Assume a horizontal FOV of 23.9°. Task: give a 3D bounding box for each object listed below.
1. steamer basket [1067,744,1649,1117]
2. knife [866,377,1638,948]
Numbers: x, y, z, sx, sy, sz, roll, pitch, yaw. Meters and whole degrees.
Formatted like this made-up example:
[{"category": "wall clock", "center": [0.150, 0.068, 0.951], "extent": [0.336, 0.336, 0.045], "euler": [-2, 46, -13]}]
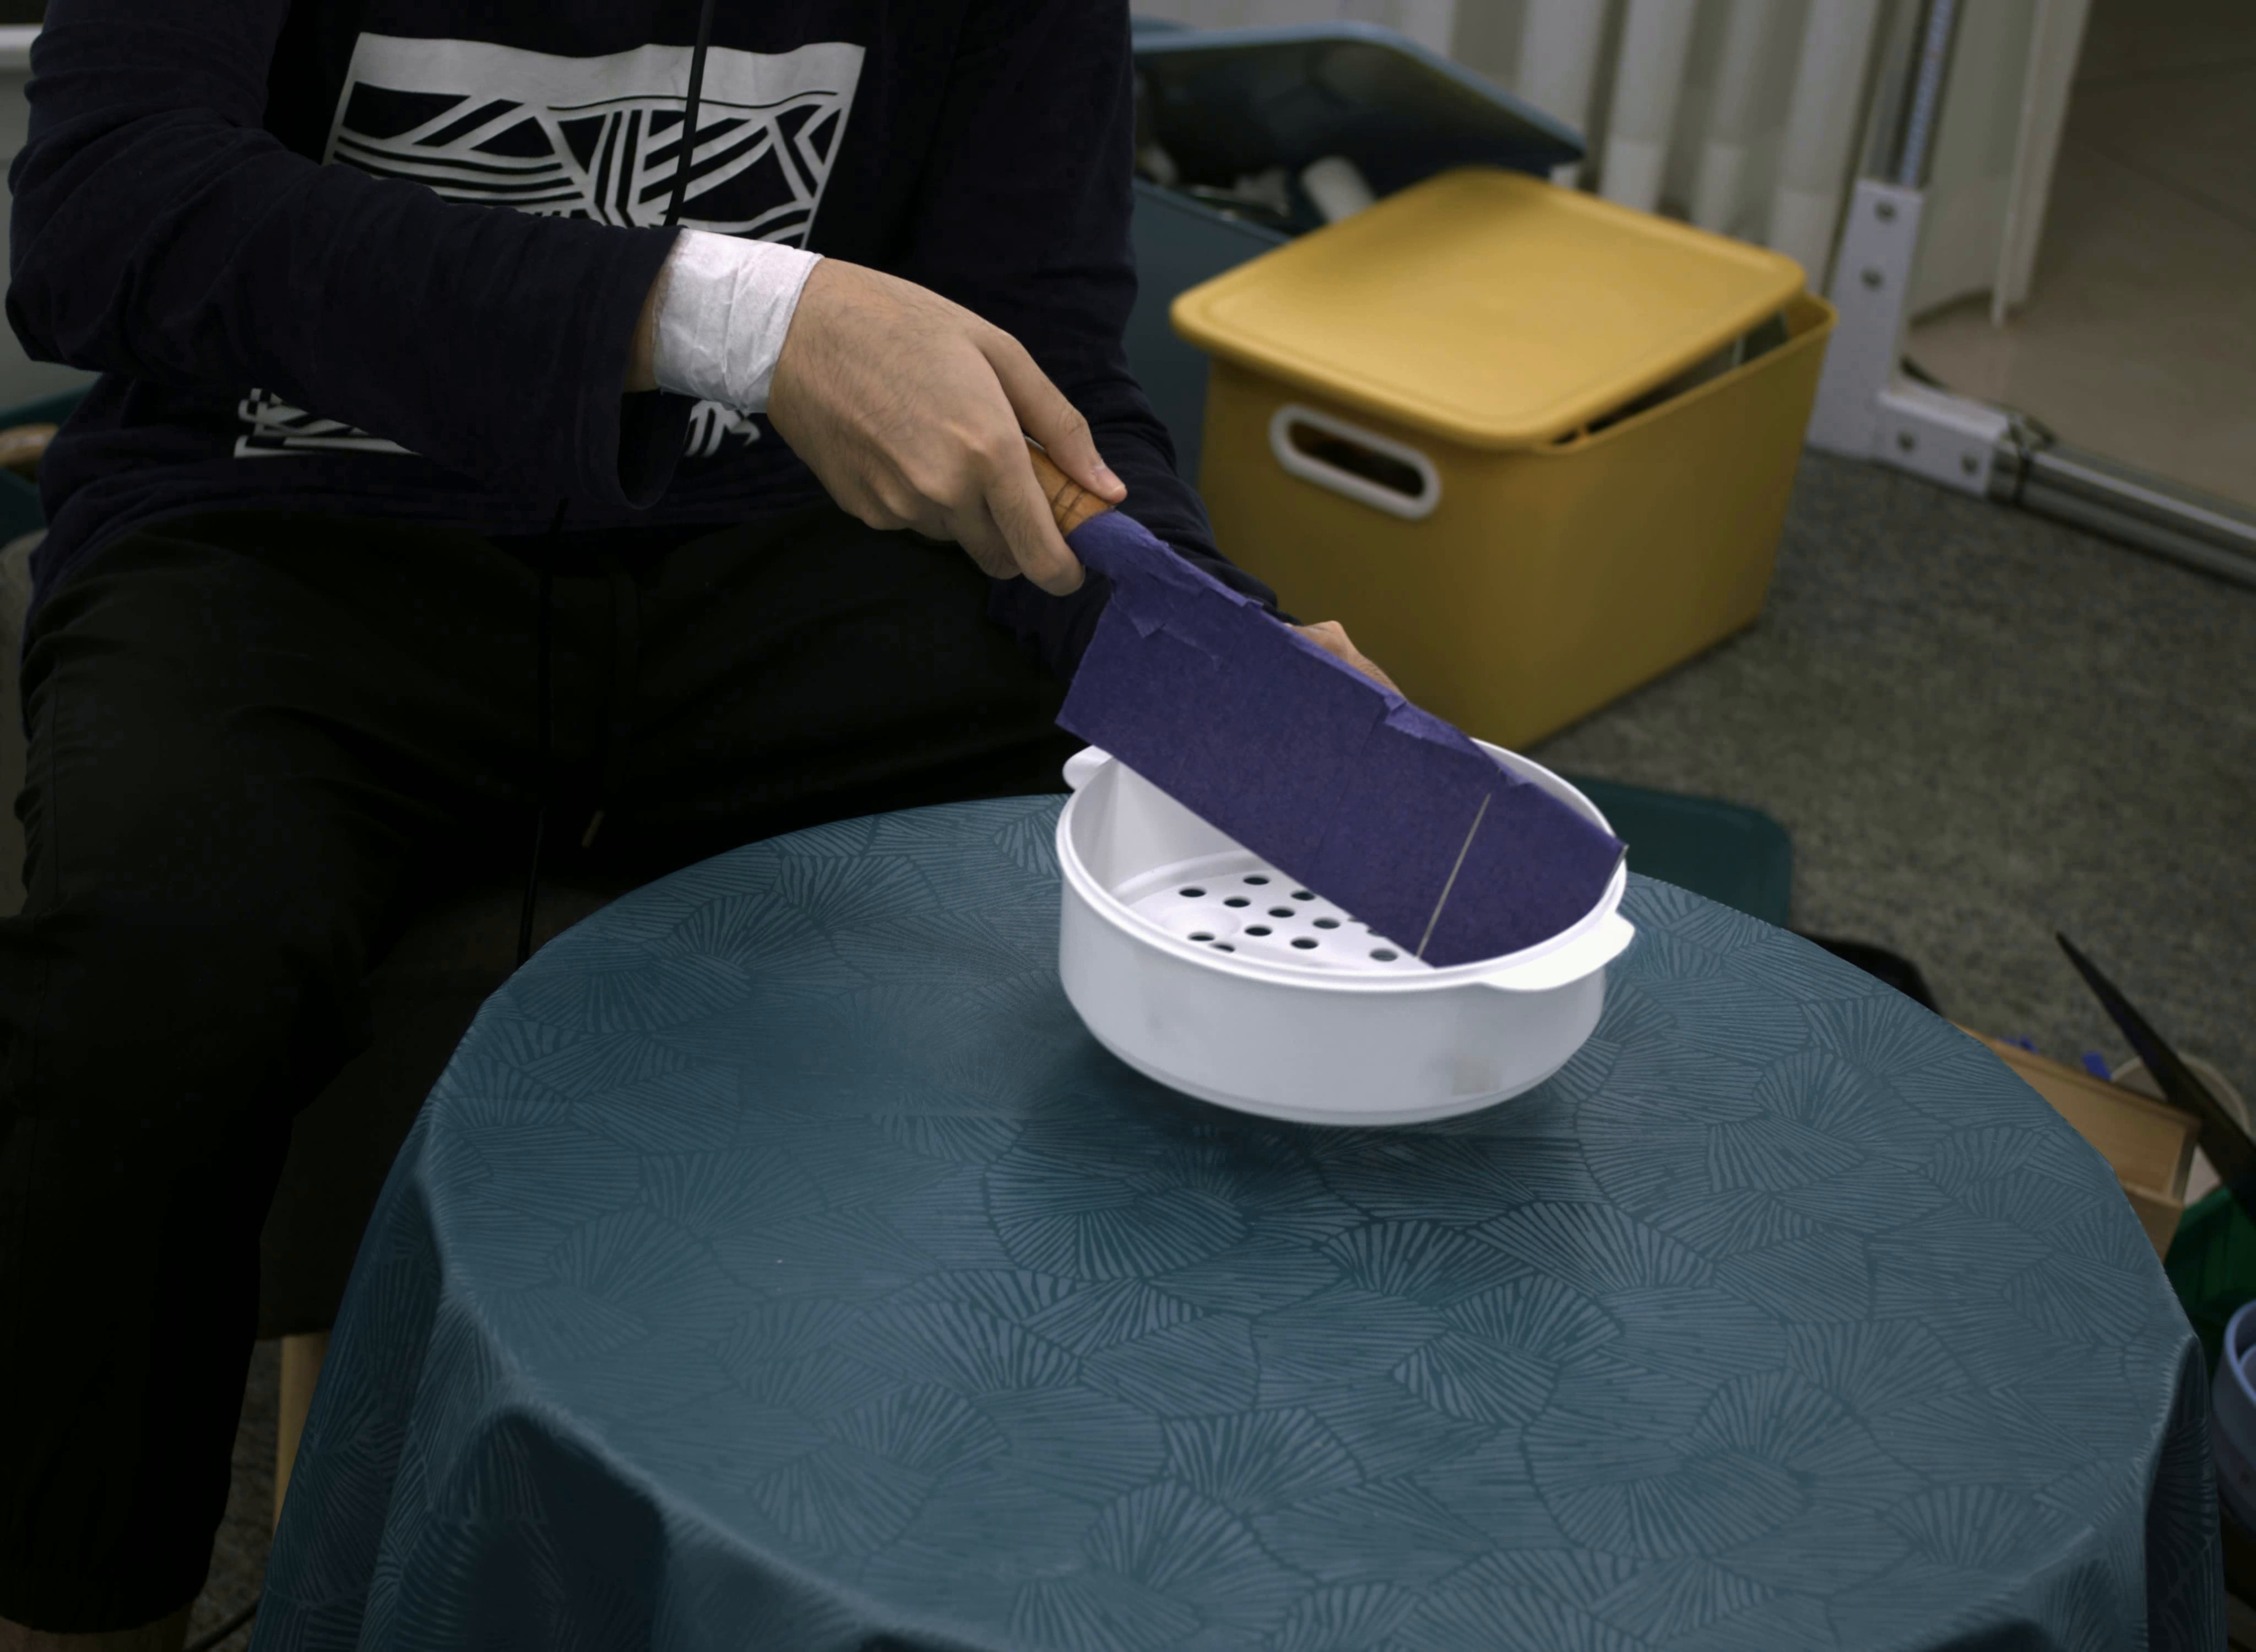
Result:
[{"category": "steamer basket", "center": [0.078, 0.035, 1.870], "extent": [0.232, 0.069, 0.201], "euler": [22, 31, 38]}, {"category": "knife", "center": [0.031, -0.044, 1.871], "extent": [0.316, 0.103, 0.032], "euler": [33, 37, 16]}]
